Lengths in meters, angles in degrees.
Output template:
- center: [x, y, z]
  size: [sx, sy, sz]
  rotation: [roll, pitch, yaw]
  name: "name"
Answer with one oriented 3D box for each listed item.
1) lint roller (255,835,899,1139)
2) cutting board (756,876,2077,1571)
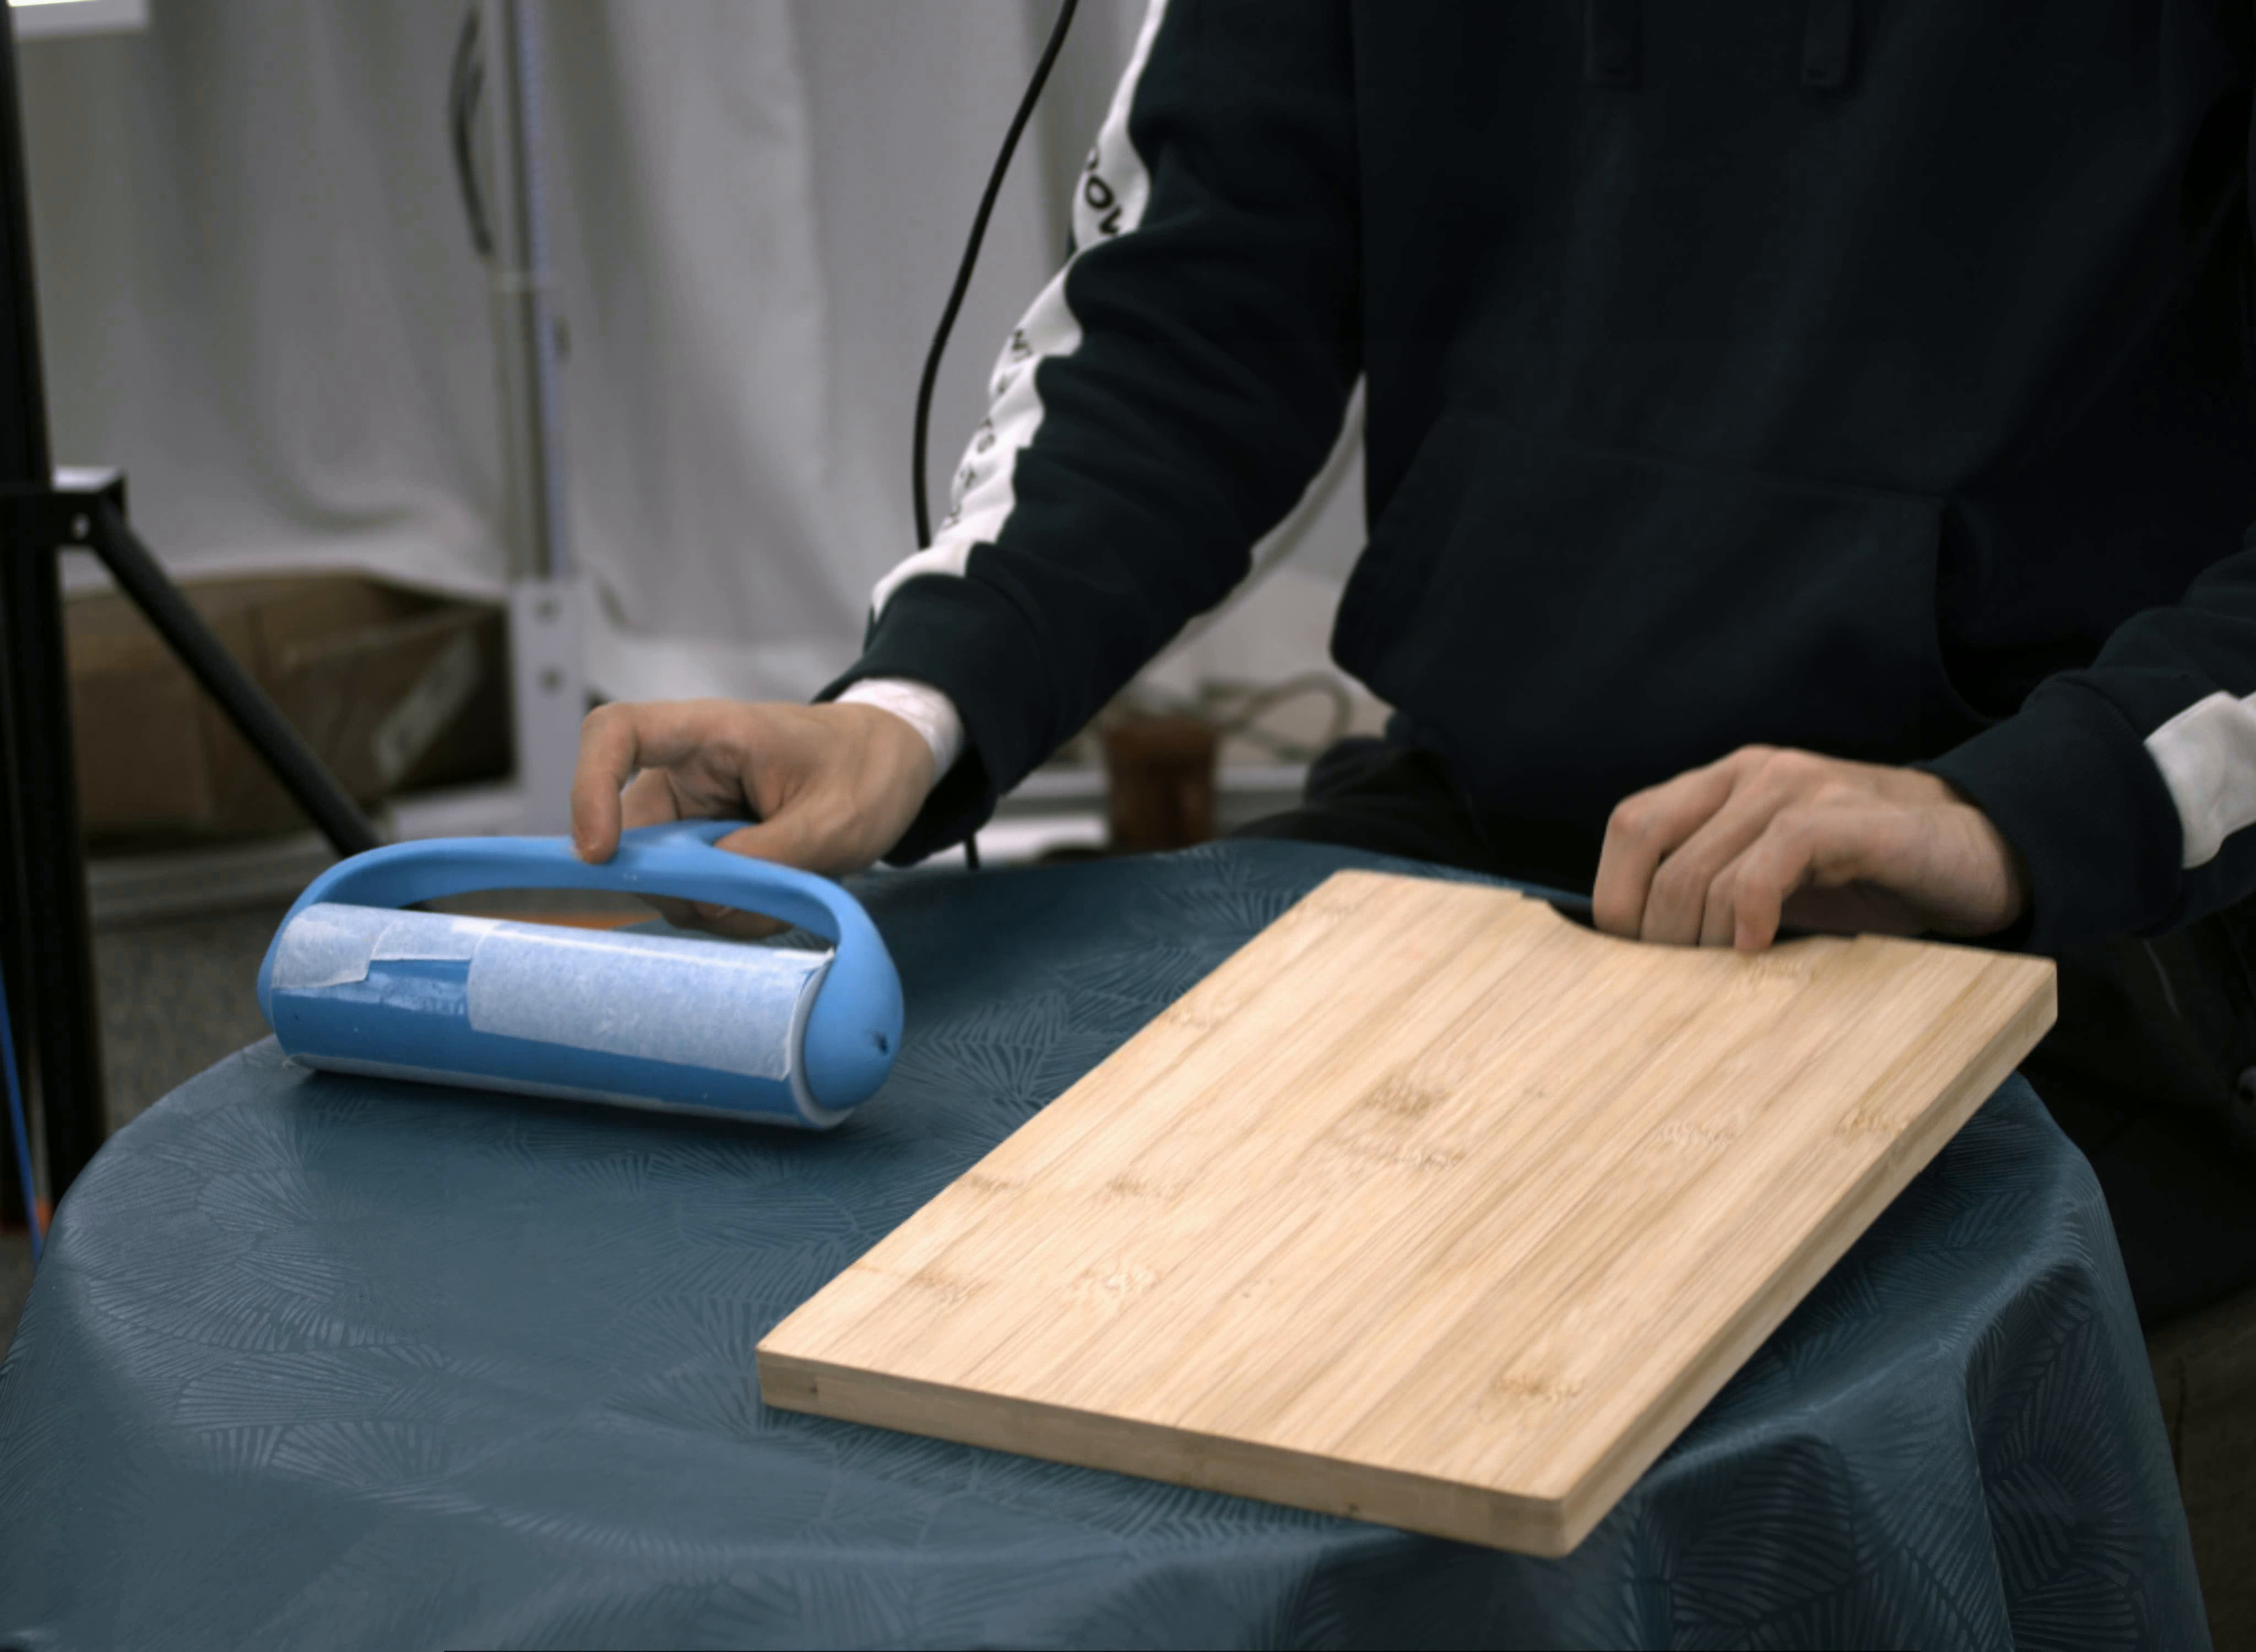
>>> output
- center: [-0.150, 0.035, 1.703]
  size: [0.232, 0.067, 0.178]
  rotation: [3, 26, 27]
  name: "lint roller"
- center: [0.089, 0.099, 1.479]
  size: [0.255, 0.023, 0.343]
  rotation: [7, 25, 30]
  name: "cutting board"
